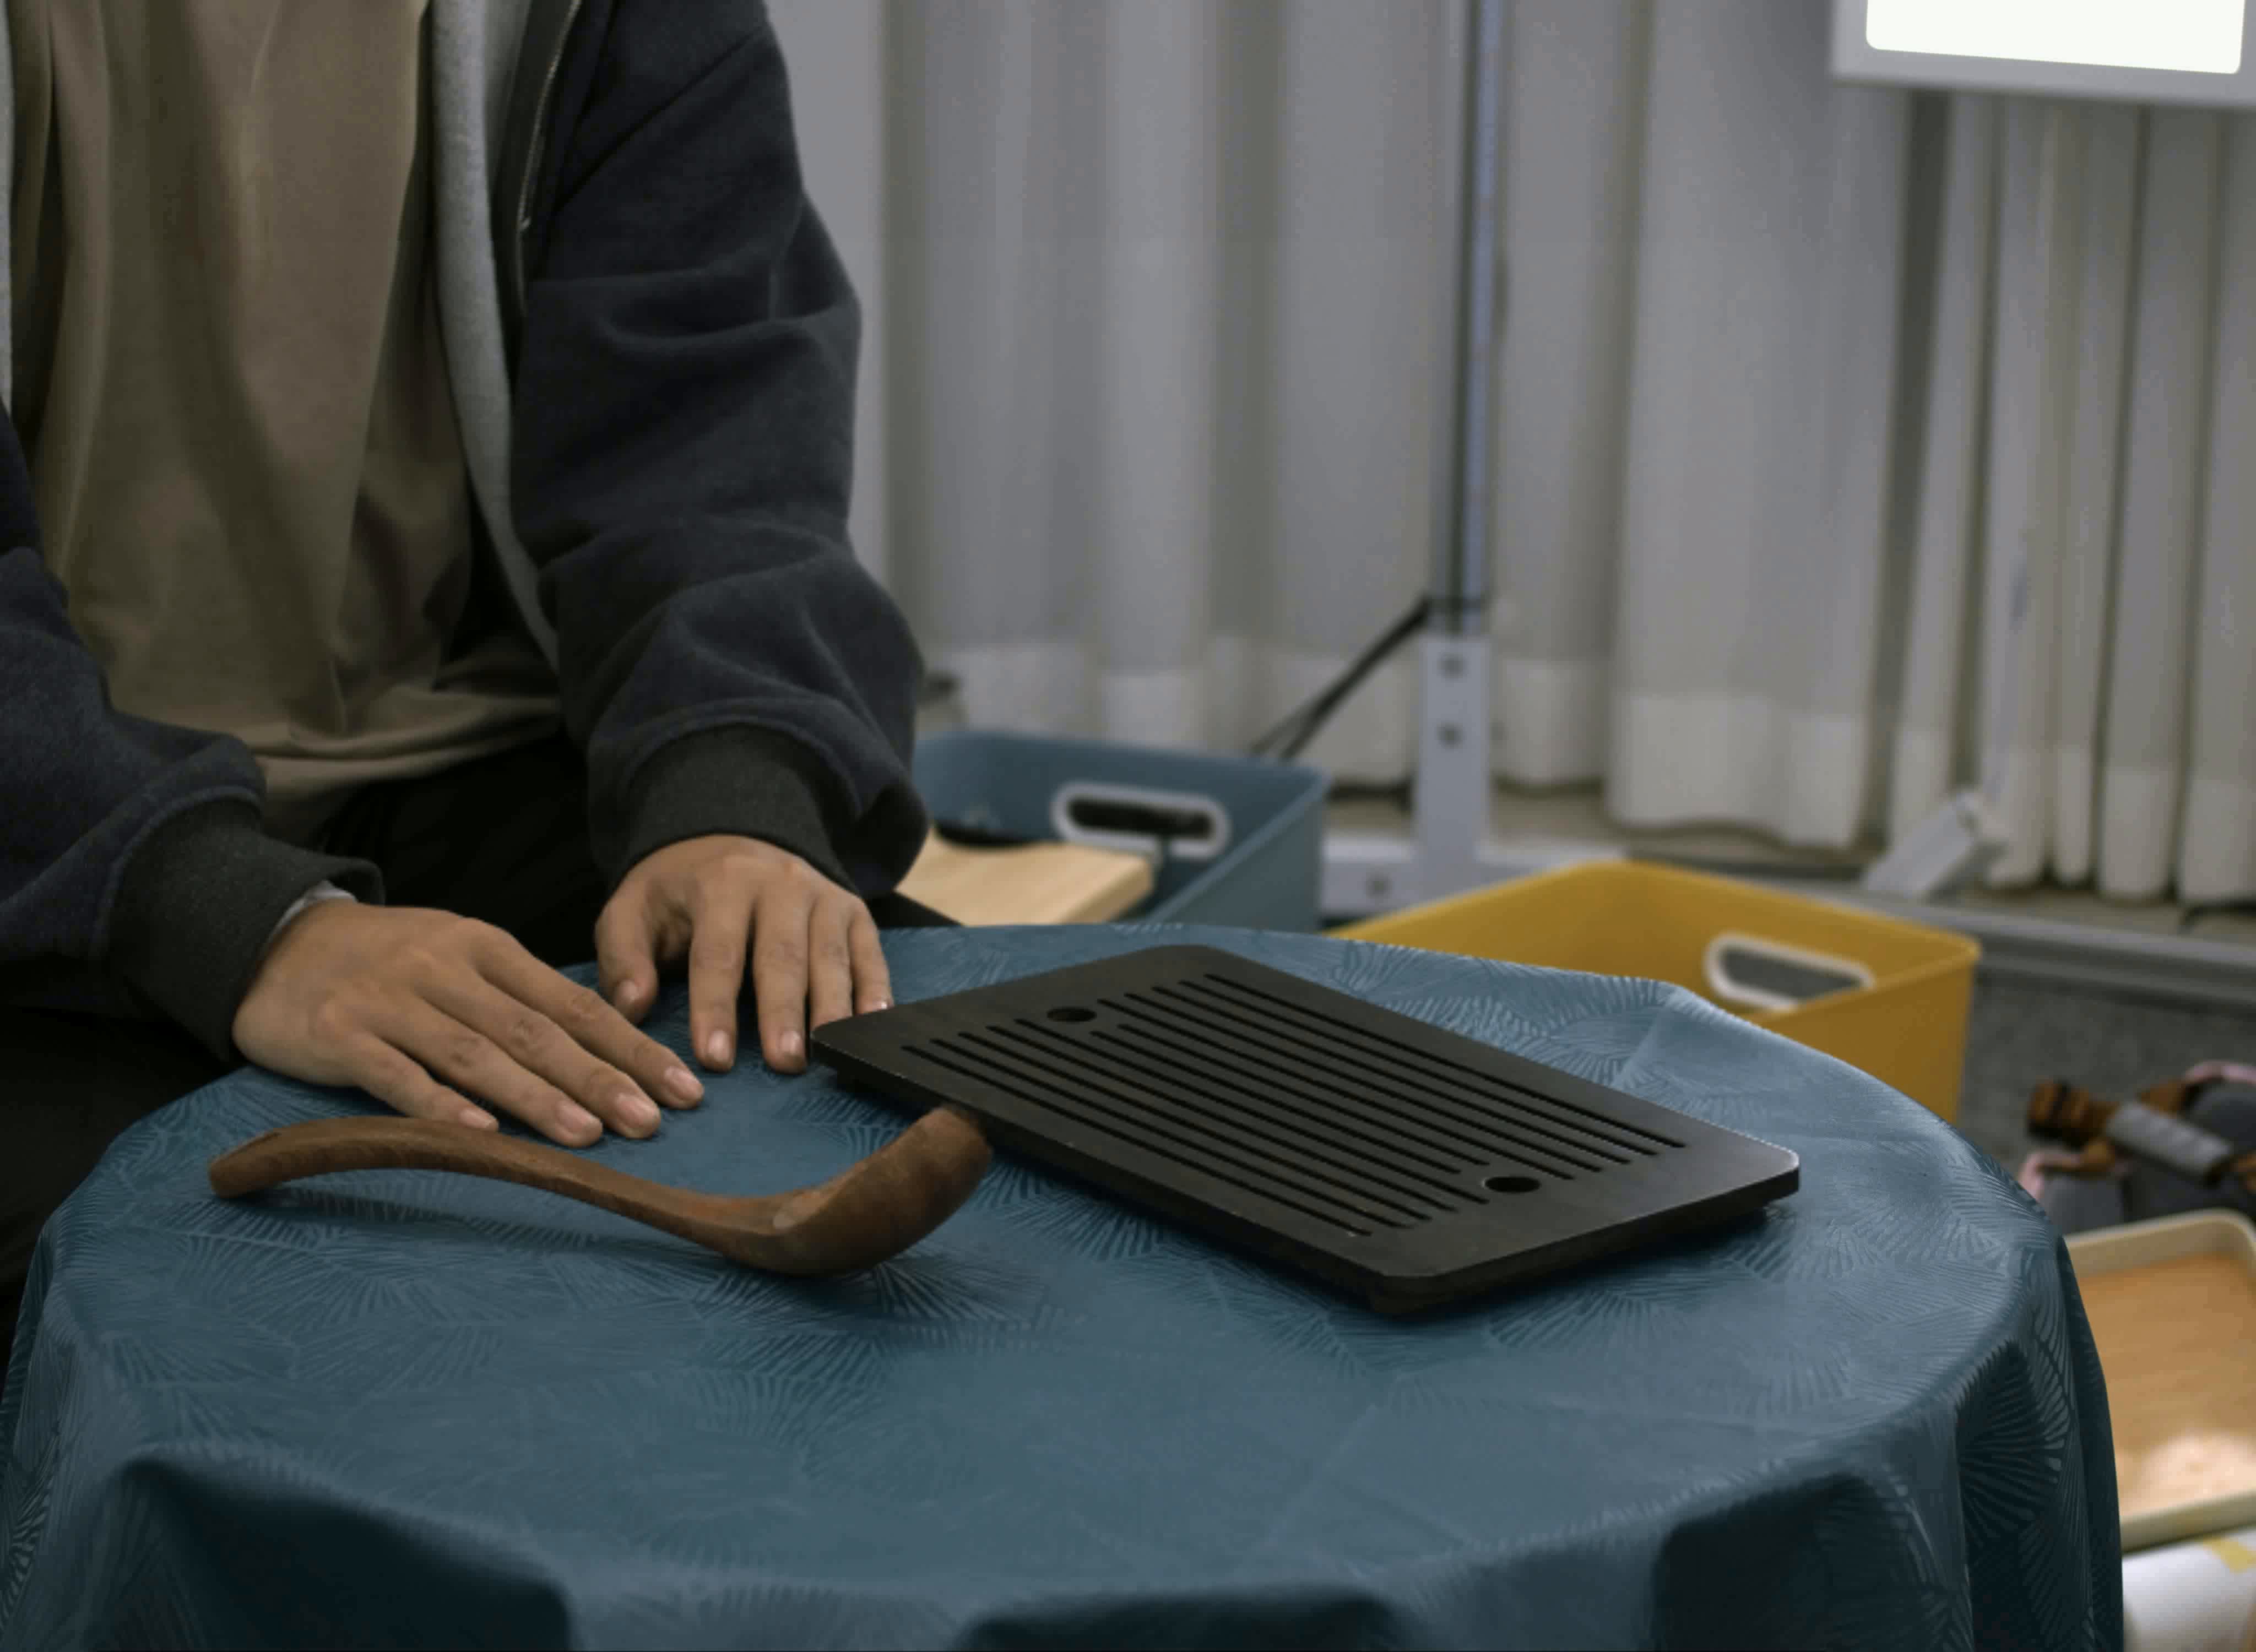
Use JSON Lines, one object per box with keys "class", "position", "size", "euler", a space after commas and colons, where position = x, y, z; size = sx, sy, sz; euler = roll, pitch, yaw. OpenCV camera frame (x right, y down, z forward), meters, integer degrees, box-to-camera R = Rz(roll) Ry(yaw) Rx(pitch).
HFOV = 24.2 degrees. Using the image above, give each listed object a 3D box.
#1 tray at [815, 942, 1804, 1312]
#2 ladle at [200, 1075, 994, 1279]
{"class": "tray", "position": [0.052, 0.091, 1.667], "size": [0.171, 0.019, 0.302], "euler": [-12, 19, -37]}
{"class": "ladle", "position": [-0.162, 0.093, 1.564], "size": [0.258, 0.065, 0.076], "euler": [6, 17, 20]}
